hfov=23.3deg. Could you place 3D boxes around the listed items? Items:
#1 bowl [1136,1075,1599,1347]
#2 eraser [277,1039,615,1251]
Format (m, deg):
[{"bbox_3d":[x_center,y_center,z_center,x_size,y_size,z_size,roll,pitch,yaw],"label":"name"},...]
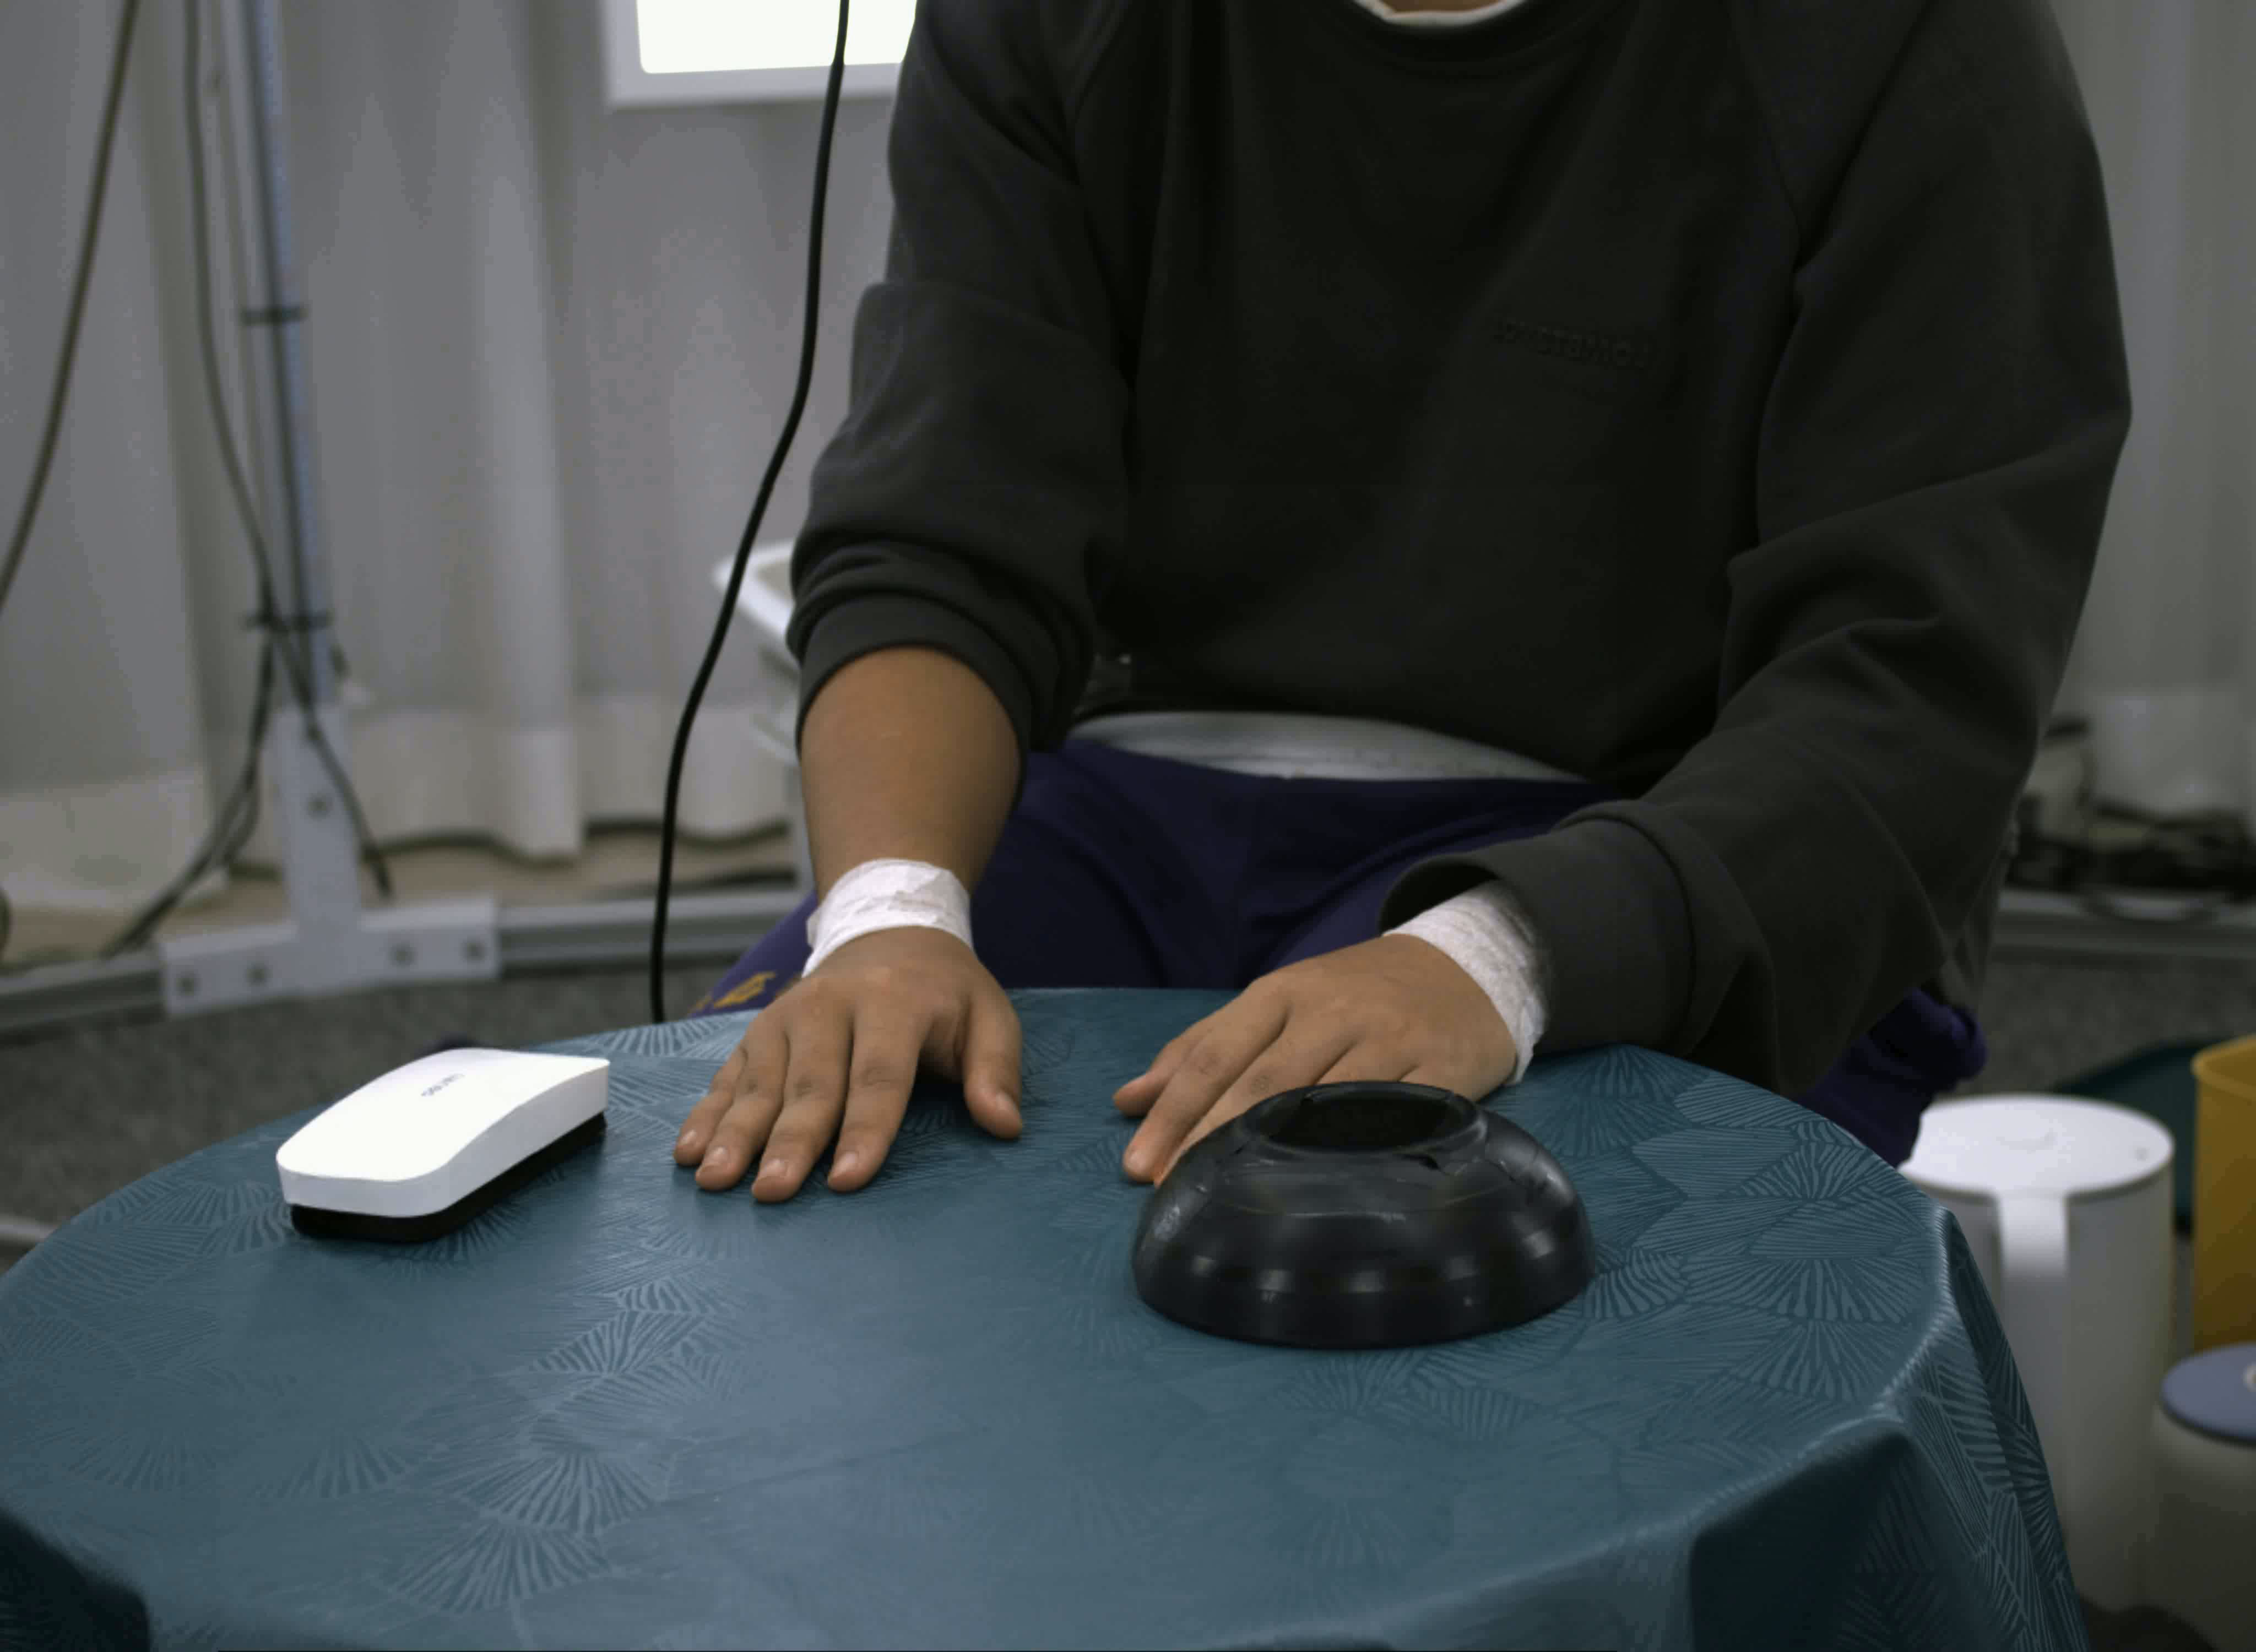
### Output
[{"bbox_3d":[0.069,0.108,1.627,0.139,0.049,0.141,-4,15,1],"label":"bowl"},{"bbox_3d":[-0.216,0.098,1.758,0.063,0.034,0.131,5,18,25],"label":"eraser"}]
